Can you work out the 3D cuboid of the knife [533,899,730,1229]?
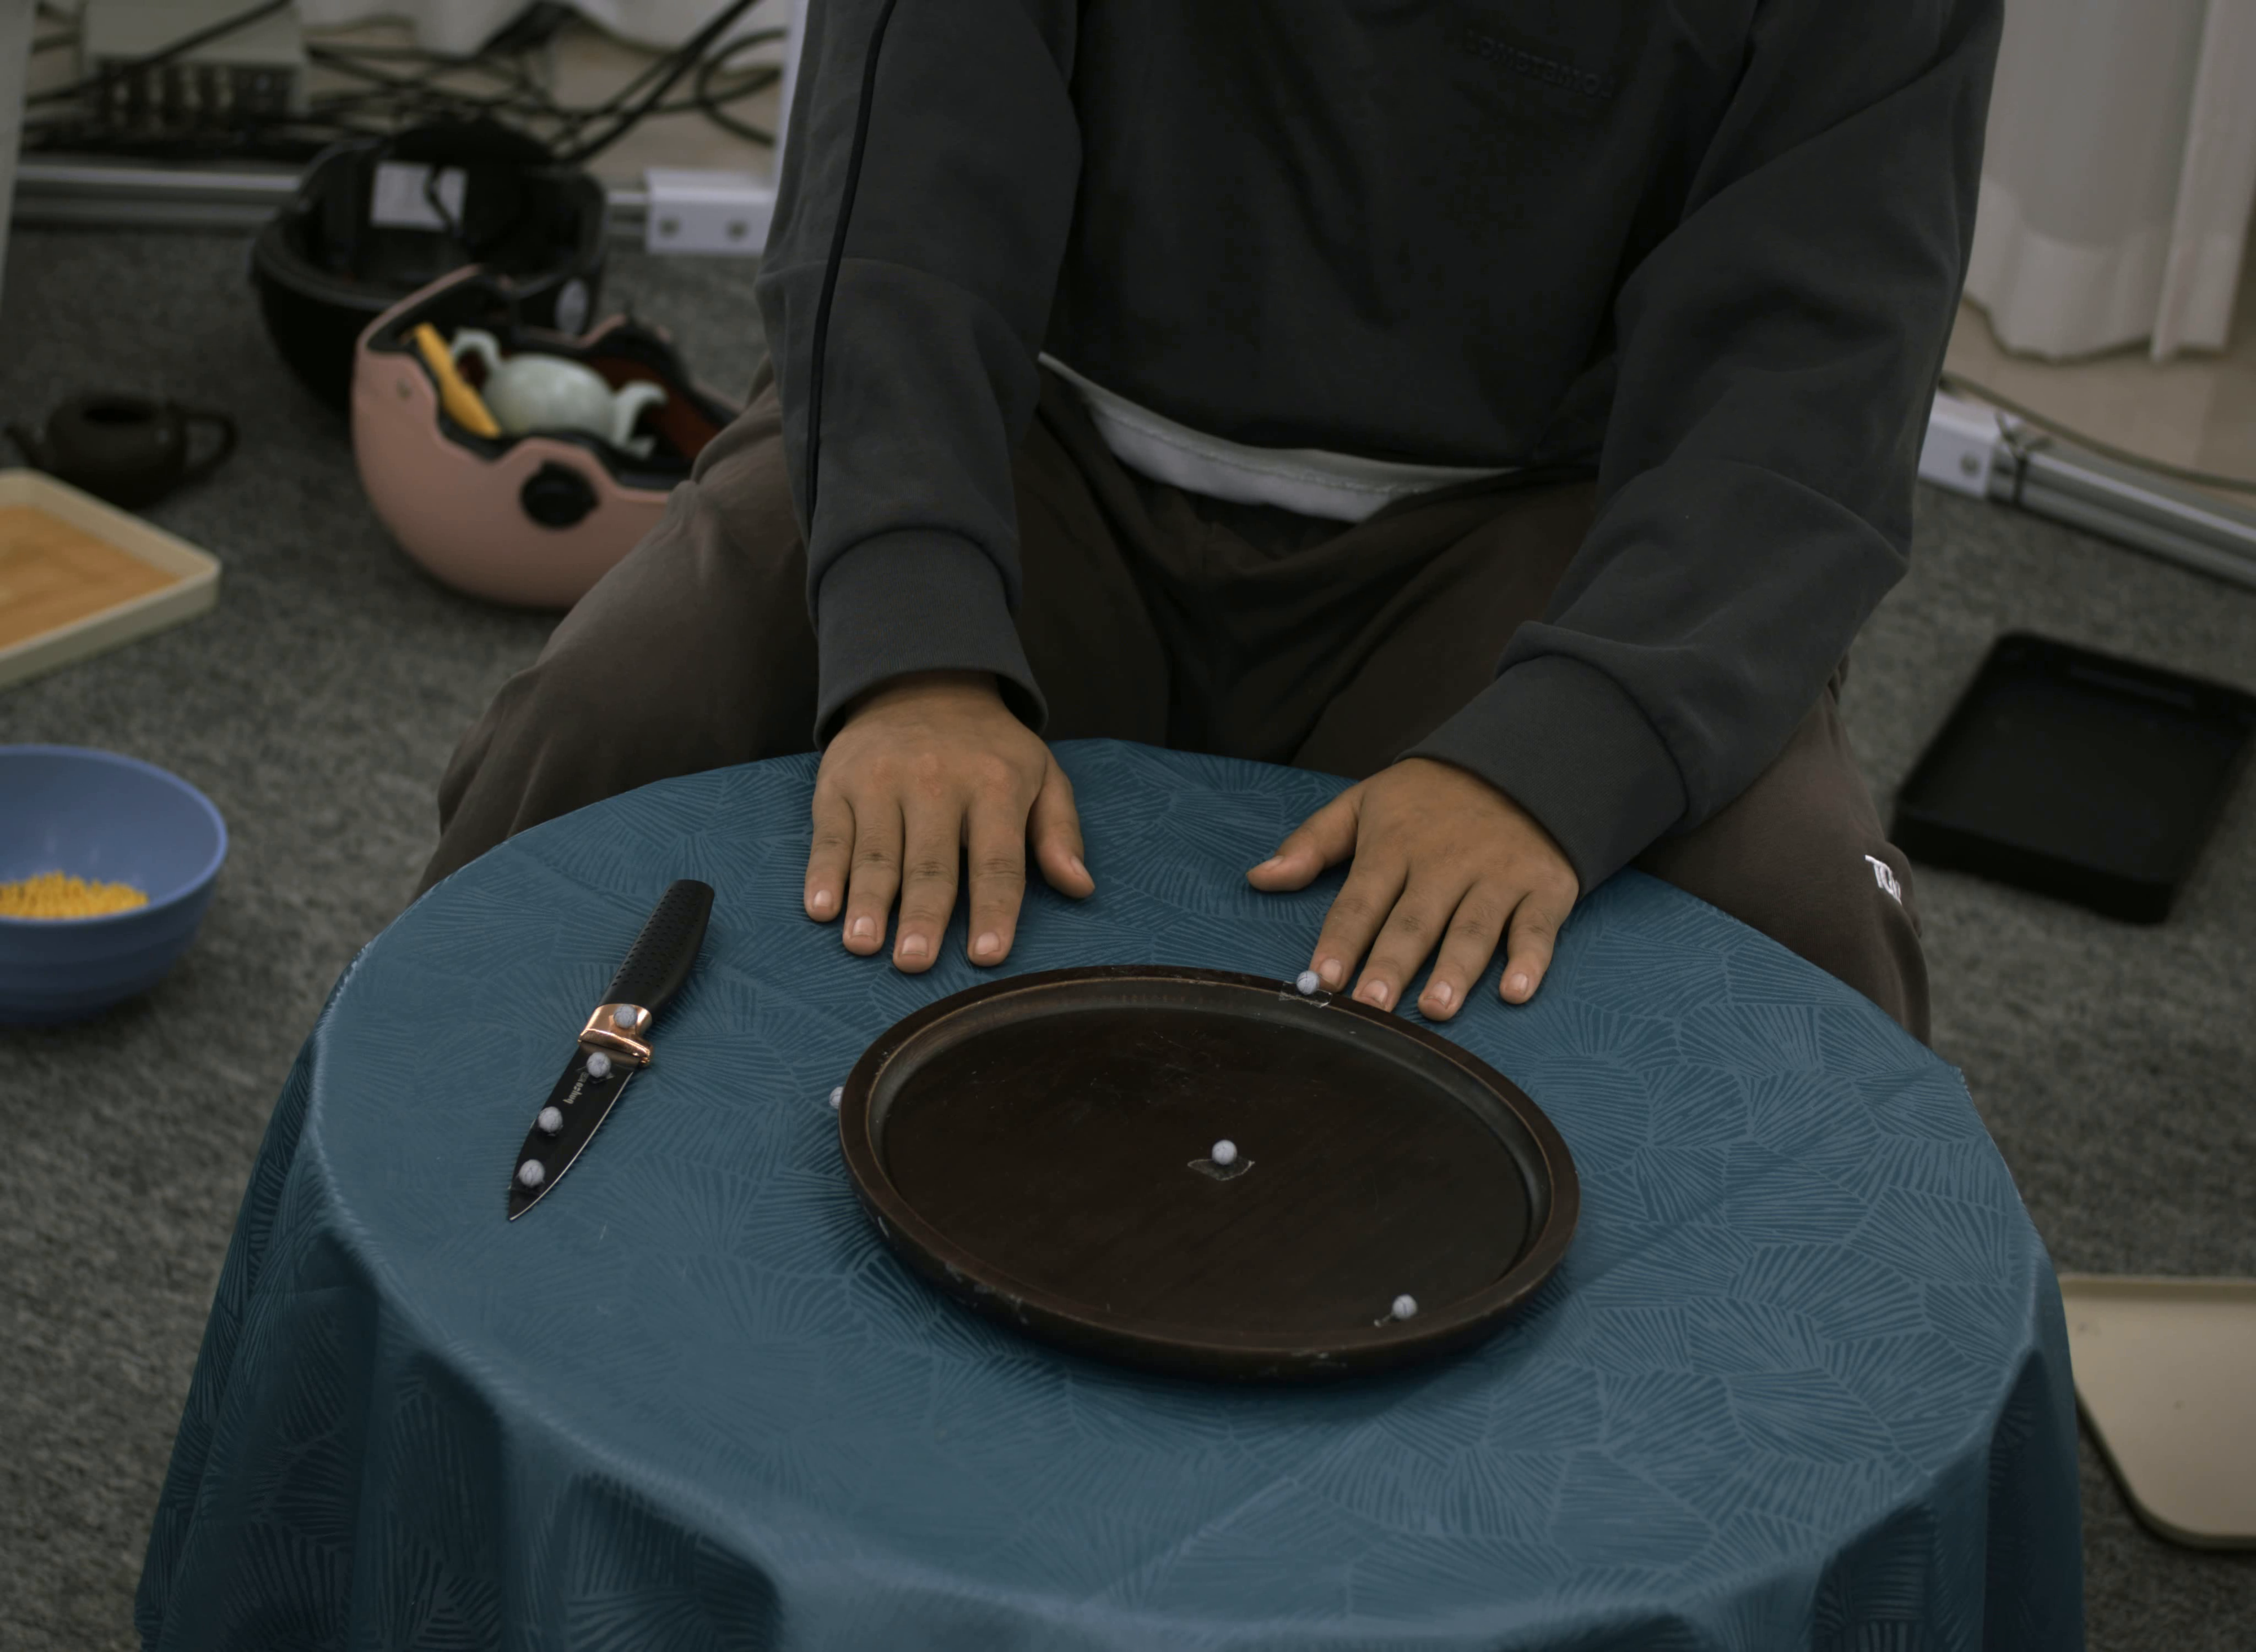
[{"bbox_3d":[-0.175,0.080,1.839,0.026,0.017,0.226,16,28,5],"label":"knife"}]

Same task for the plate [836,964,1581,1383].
[{"bbox_3d":[0.027,0.116,1.802,0.254,0.029,0.256,5,26,-3],"label":"plate"}]
